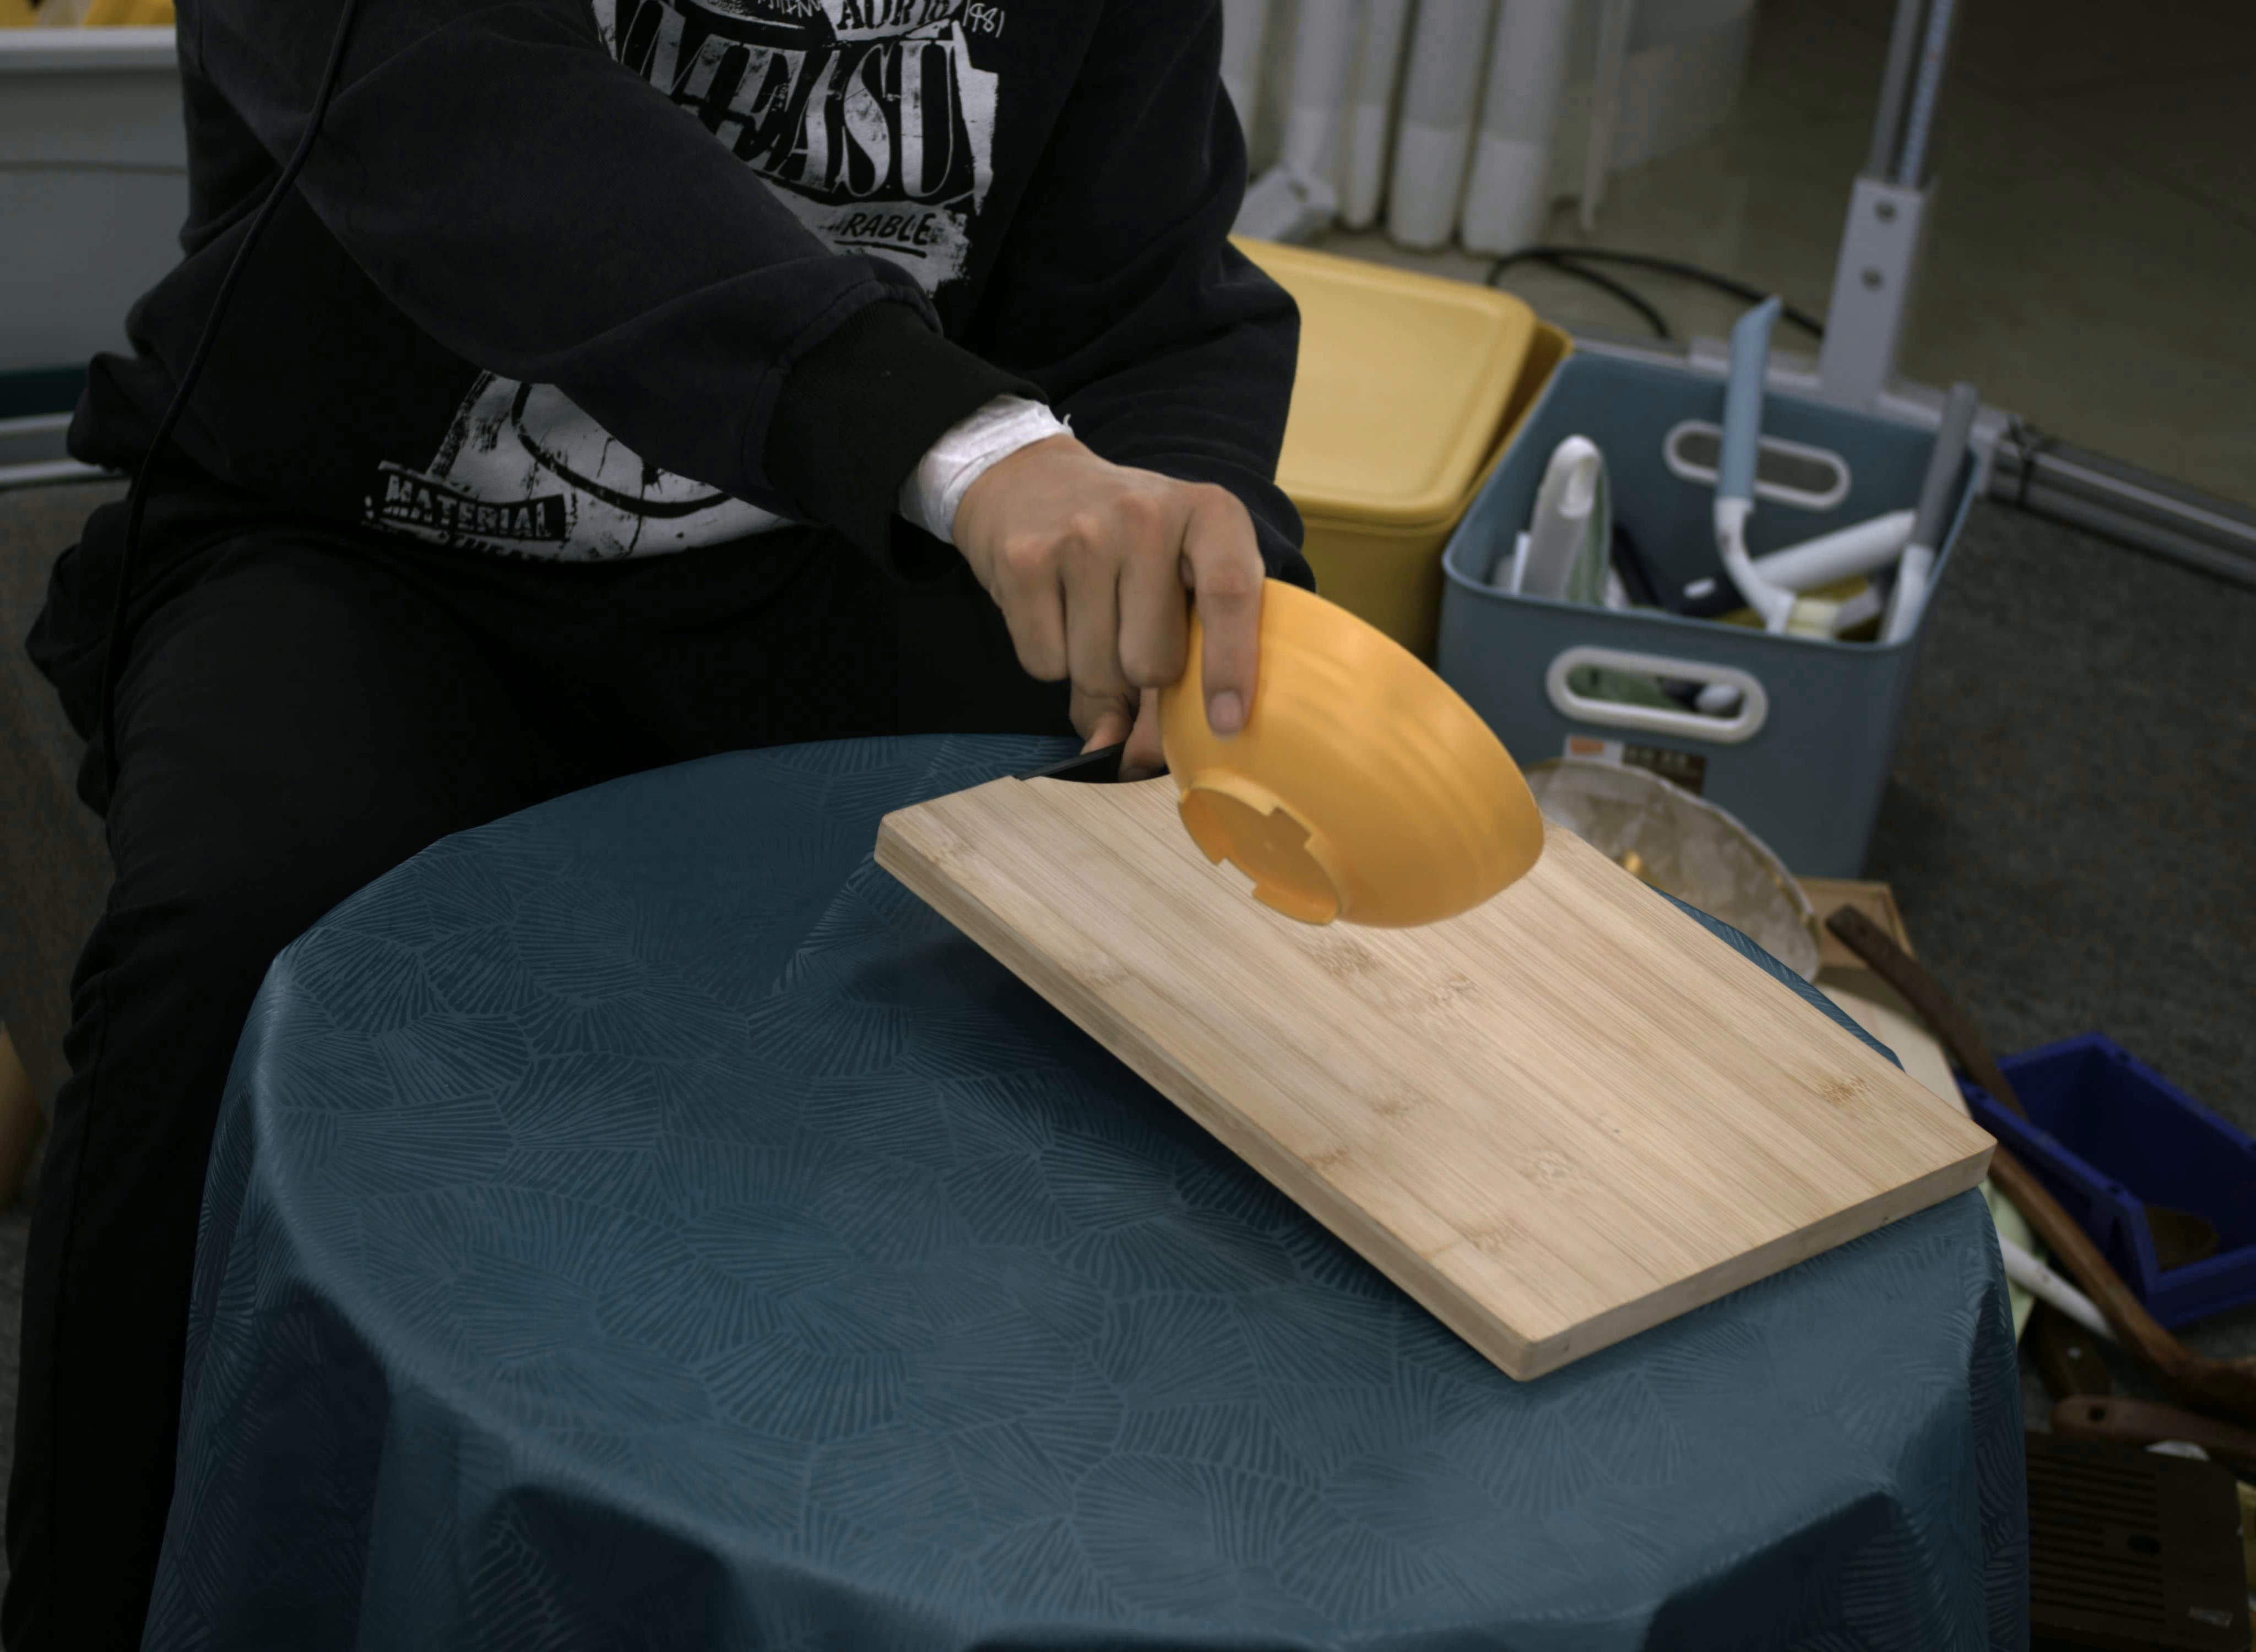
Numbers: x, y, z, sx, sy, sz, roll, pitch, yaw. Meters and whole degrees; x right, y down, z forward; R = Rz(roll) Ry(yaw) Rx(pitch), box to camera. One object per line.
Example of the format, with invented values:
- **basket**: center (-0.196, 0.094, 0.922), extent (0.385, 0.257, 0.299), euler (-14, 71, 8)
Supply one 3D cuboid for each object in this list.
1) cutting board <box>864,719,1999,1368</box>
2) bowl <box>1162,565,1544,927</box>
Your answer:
- **cutting board**: center (0.104, 0.059, 1.891), extent (0.249, 0.023, 0.351), euler (-18, 42, -40)
- **bowl**: center (0.060, -0.013, 1.725), extent (0.146, 0.144, 0.060), euler (26, 64, 33)
